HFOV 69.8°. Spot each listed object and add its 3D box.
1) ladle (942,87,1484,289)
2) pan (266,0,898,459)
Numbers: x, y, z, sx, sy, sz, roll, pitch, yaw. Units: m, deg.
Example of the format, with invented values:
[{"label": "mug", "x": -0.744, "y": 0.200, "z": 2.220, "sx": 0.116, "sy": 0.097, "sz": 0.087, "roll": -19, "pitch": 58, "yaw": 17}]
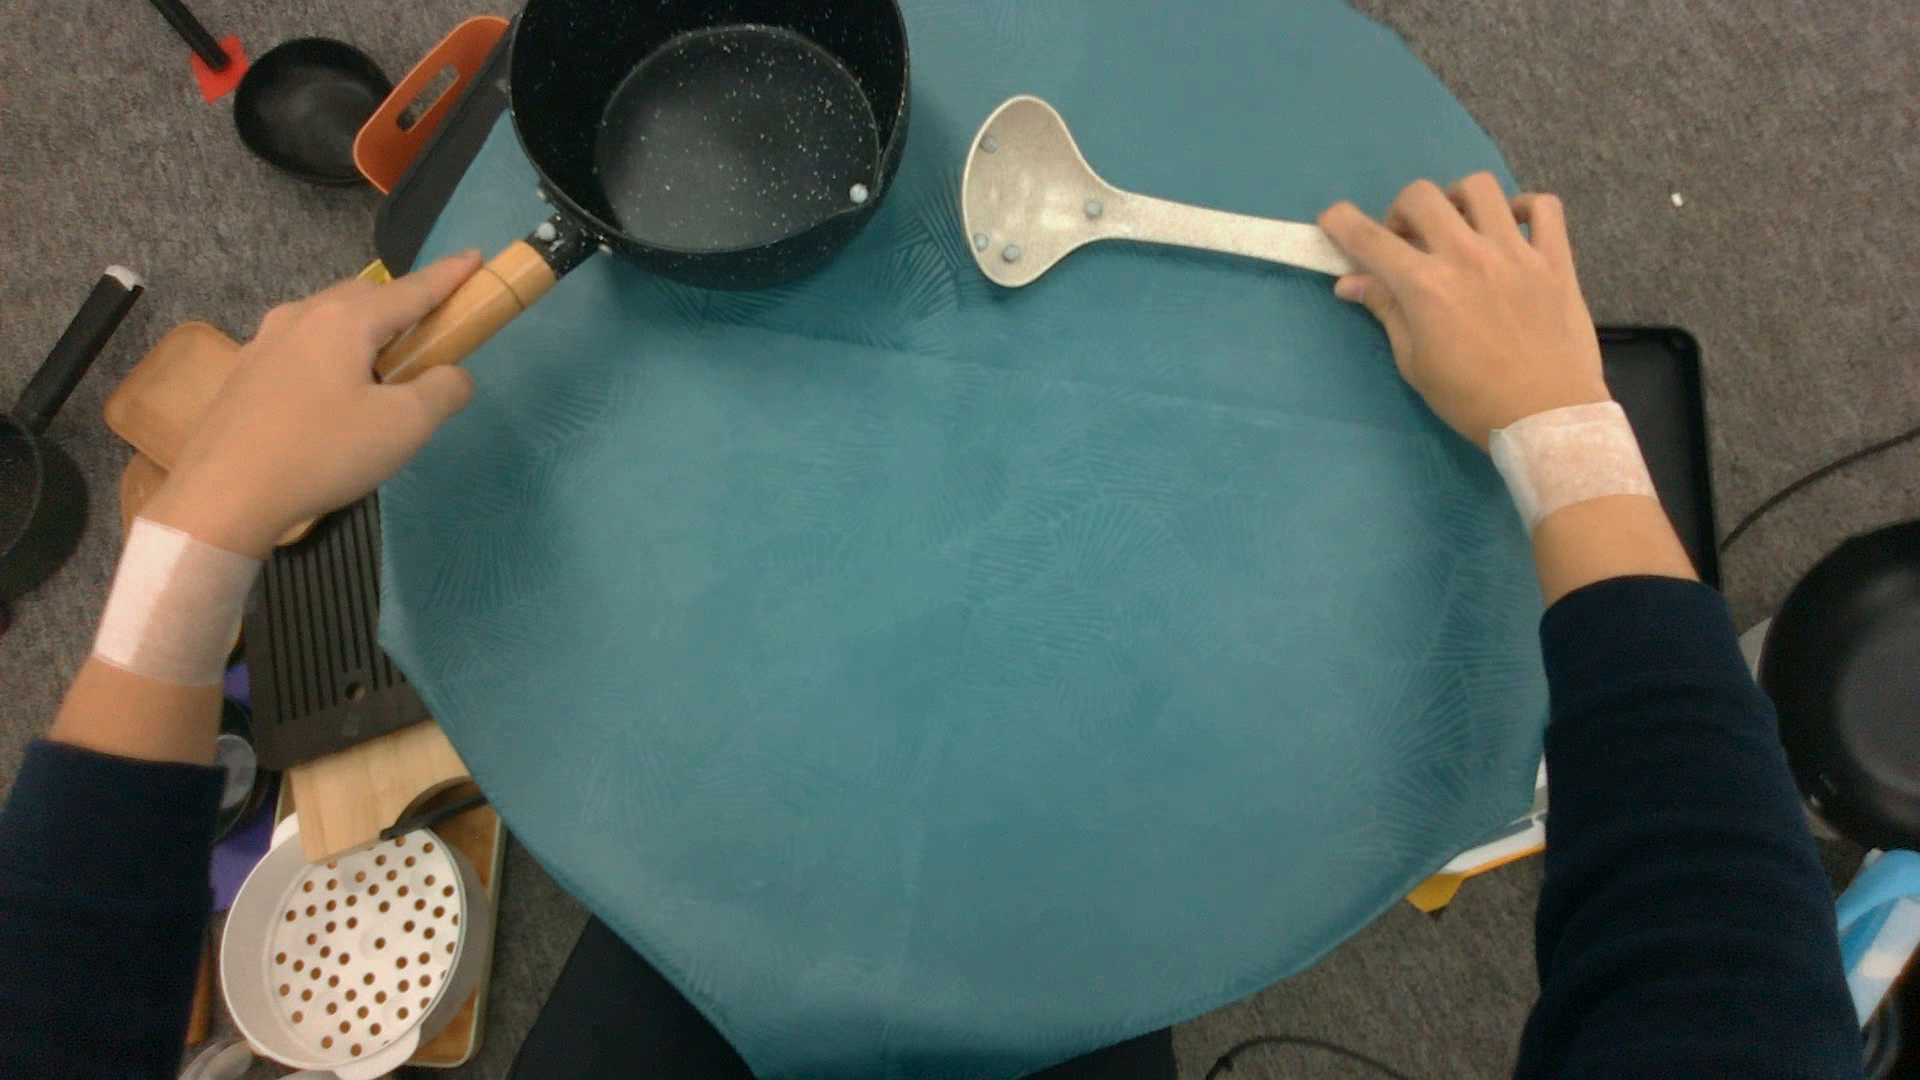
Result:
[{"label": "ladle", "x": 0.128, "y": -0.155, "z": 0.666, "sx": 0.275, "sy": 0.069, "sz": 0.089, "roll": 10, "pitch": 95, "yaw": 1}, {"label": "pan", "x": -0.171, "y": -0.155, "z": 0.645, "sx": 0.207, "sy": 0.108, "sz": 0.343, "roll": 38, "pitch": 79, "yaw": 7}]
